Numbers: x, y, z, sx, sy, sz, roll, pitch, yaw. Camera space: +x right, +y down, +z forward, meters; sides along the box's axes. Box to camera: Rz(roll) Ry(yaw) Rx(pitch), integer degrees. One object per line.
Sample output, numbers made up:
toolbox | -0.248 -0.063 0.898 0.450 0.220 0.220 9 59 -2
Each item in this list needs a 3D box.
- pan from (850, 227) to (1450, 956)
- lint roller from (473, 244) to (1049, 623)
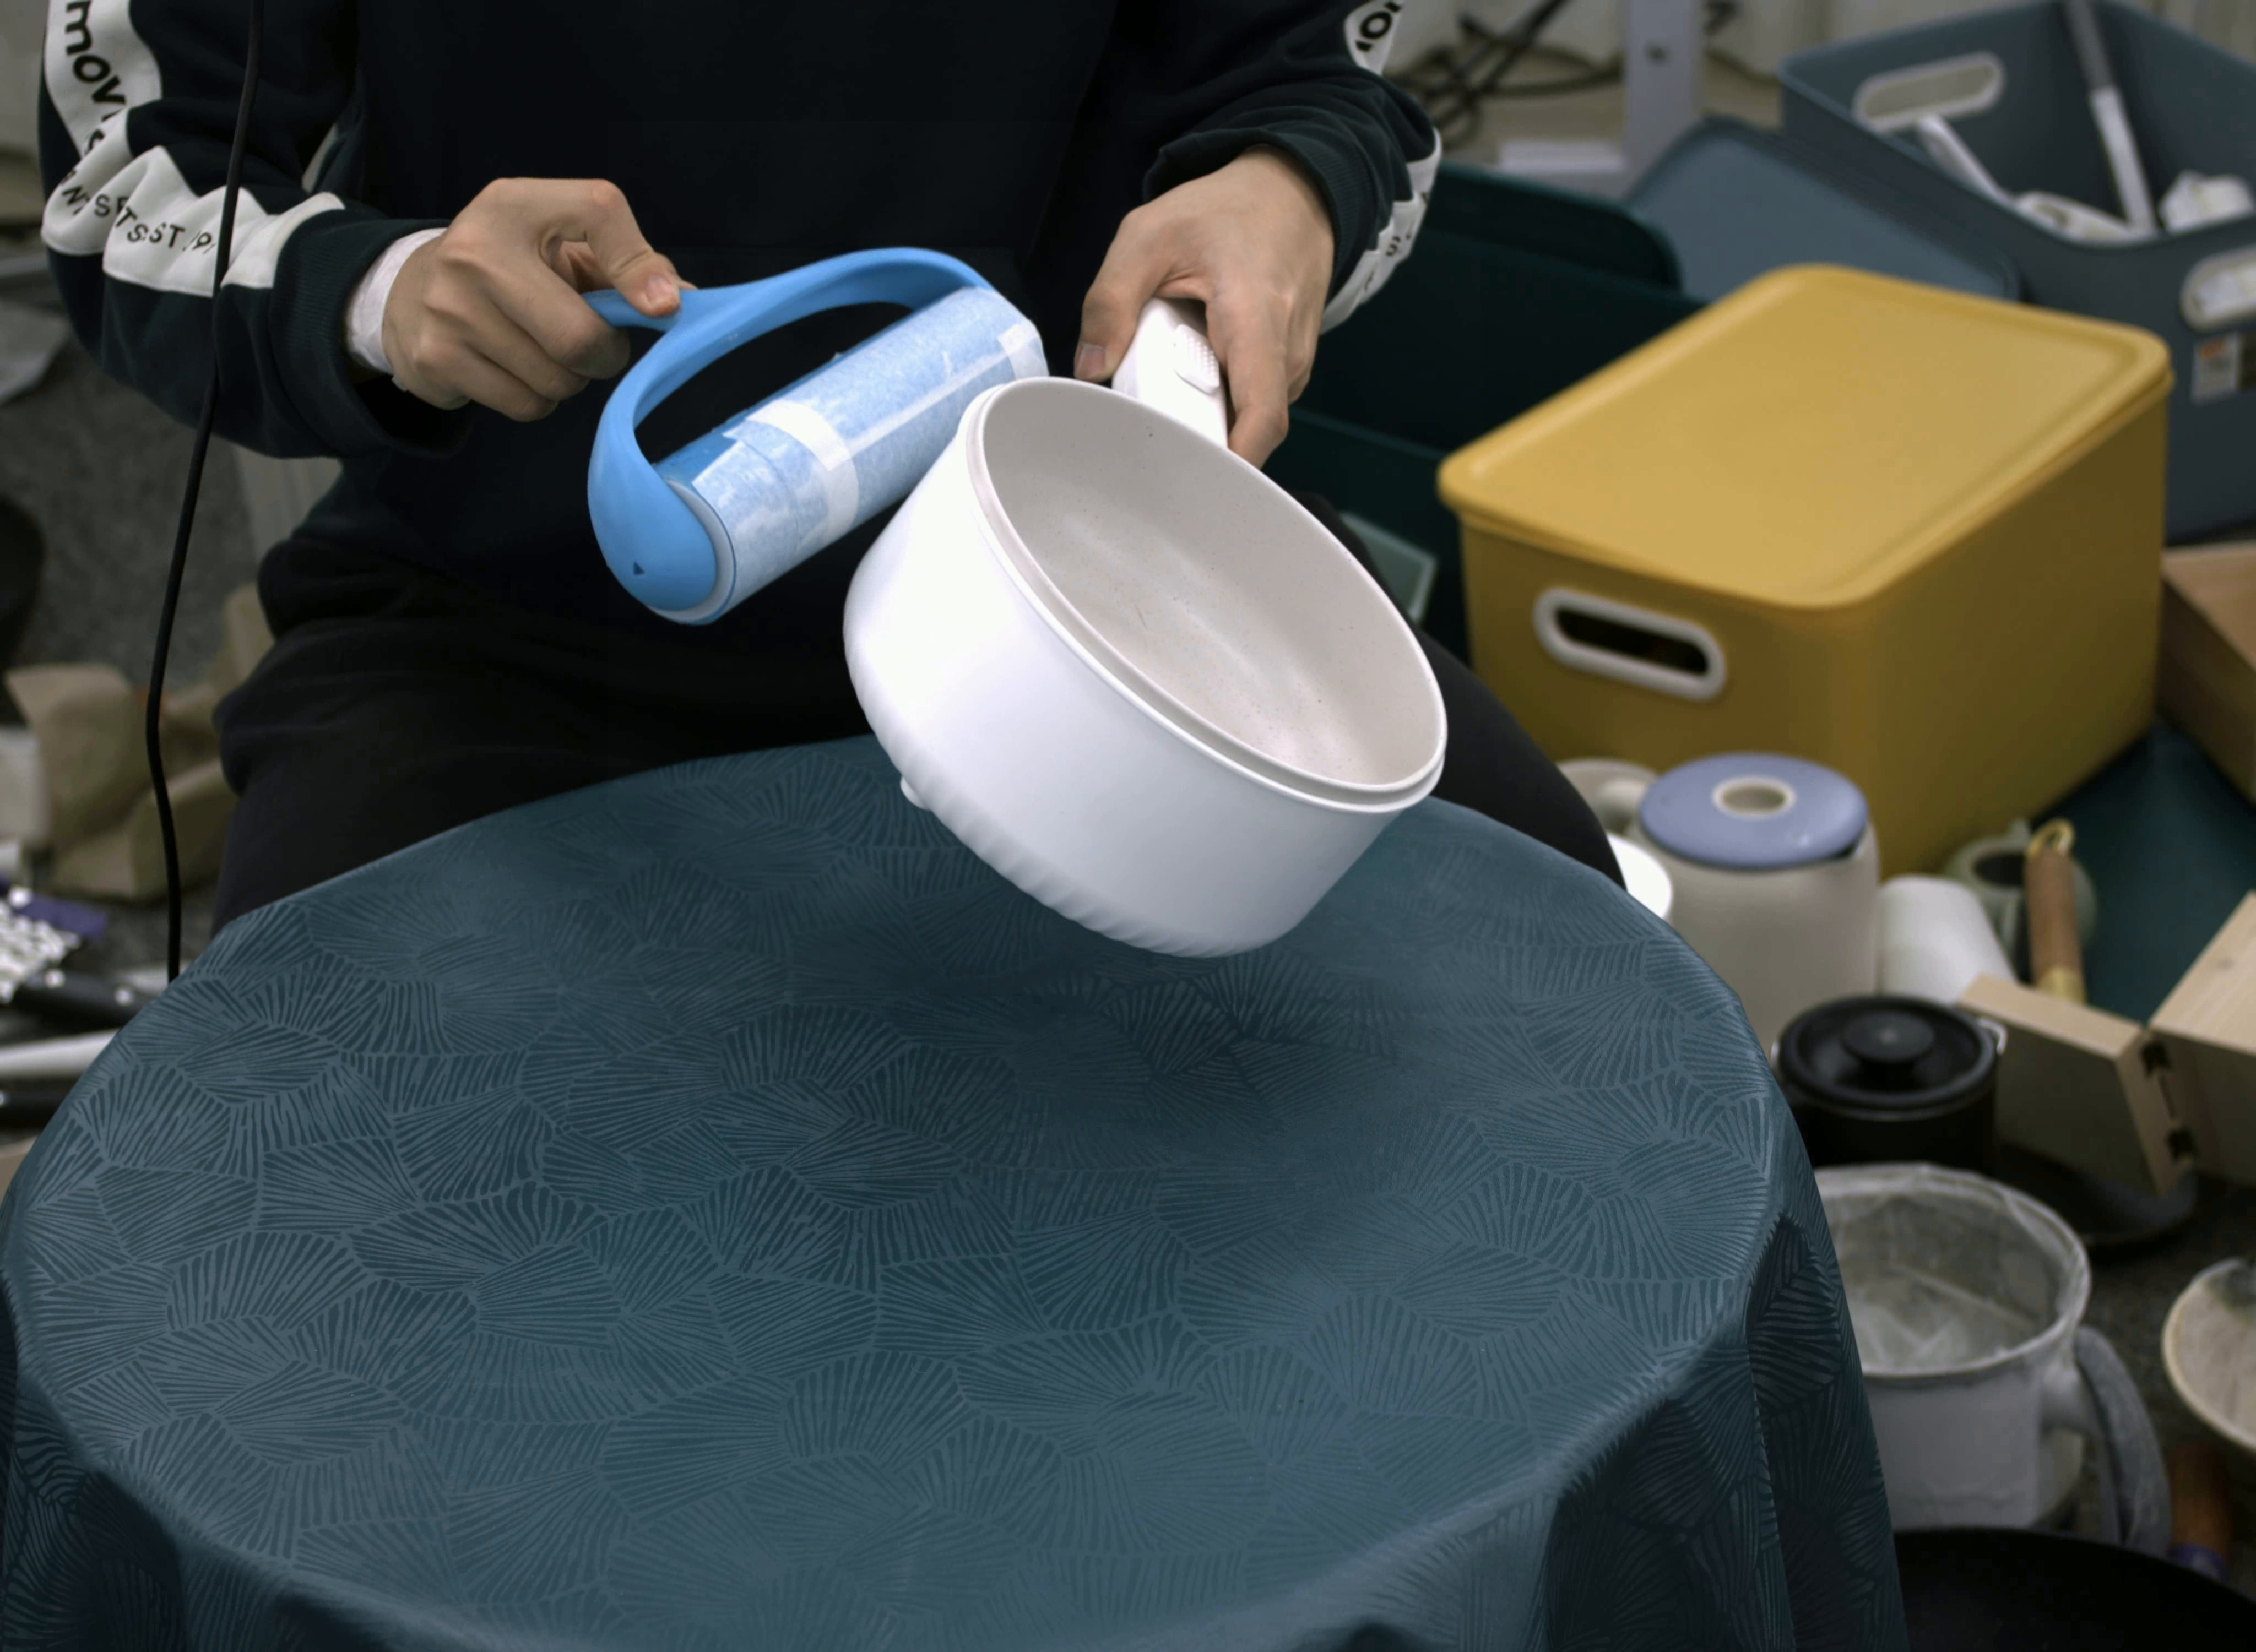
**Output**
pan | 0.001 -0.091 1.965 0.200 0.101 0.361 32 26 -19
lint roller | -0.150 -0.152 1.944 0.180 0.067 0.233 22 35 20
